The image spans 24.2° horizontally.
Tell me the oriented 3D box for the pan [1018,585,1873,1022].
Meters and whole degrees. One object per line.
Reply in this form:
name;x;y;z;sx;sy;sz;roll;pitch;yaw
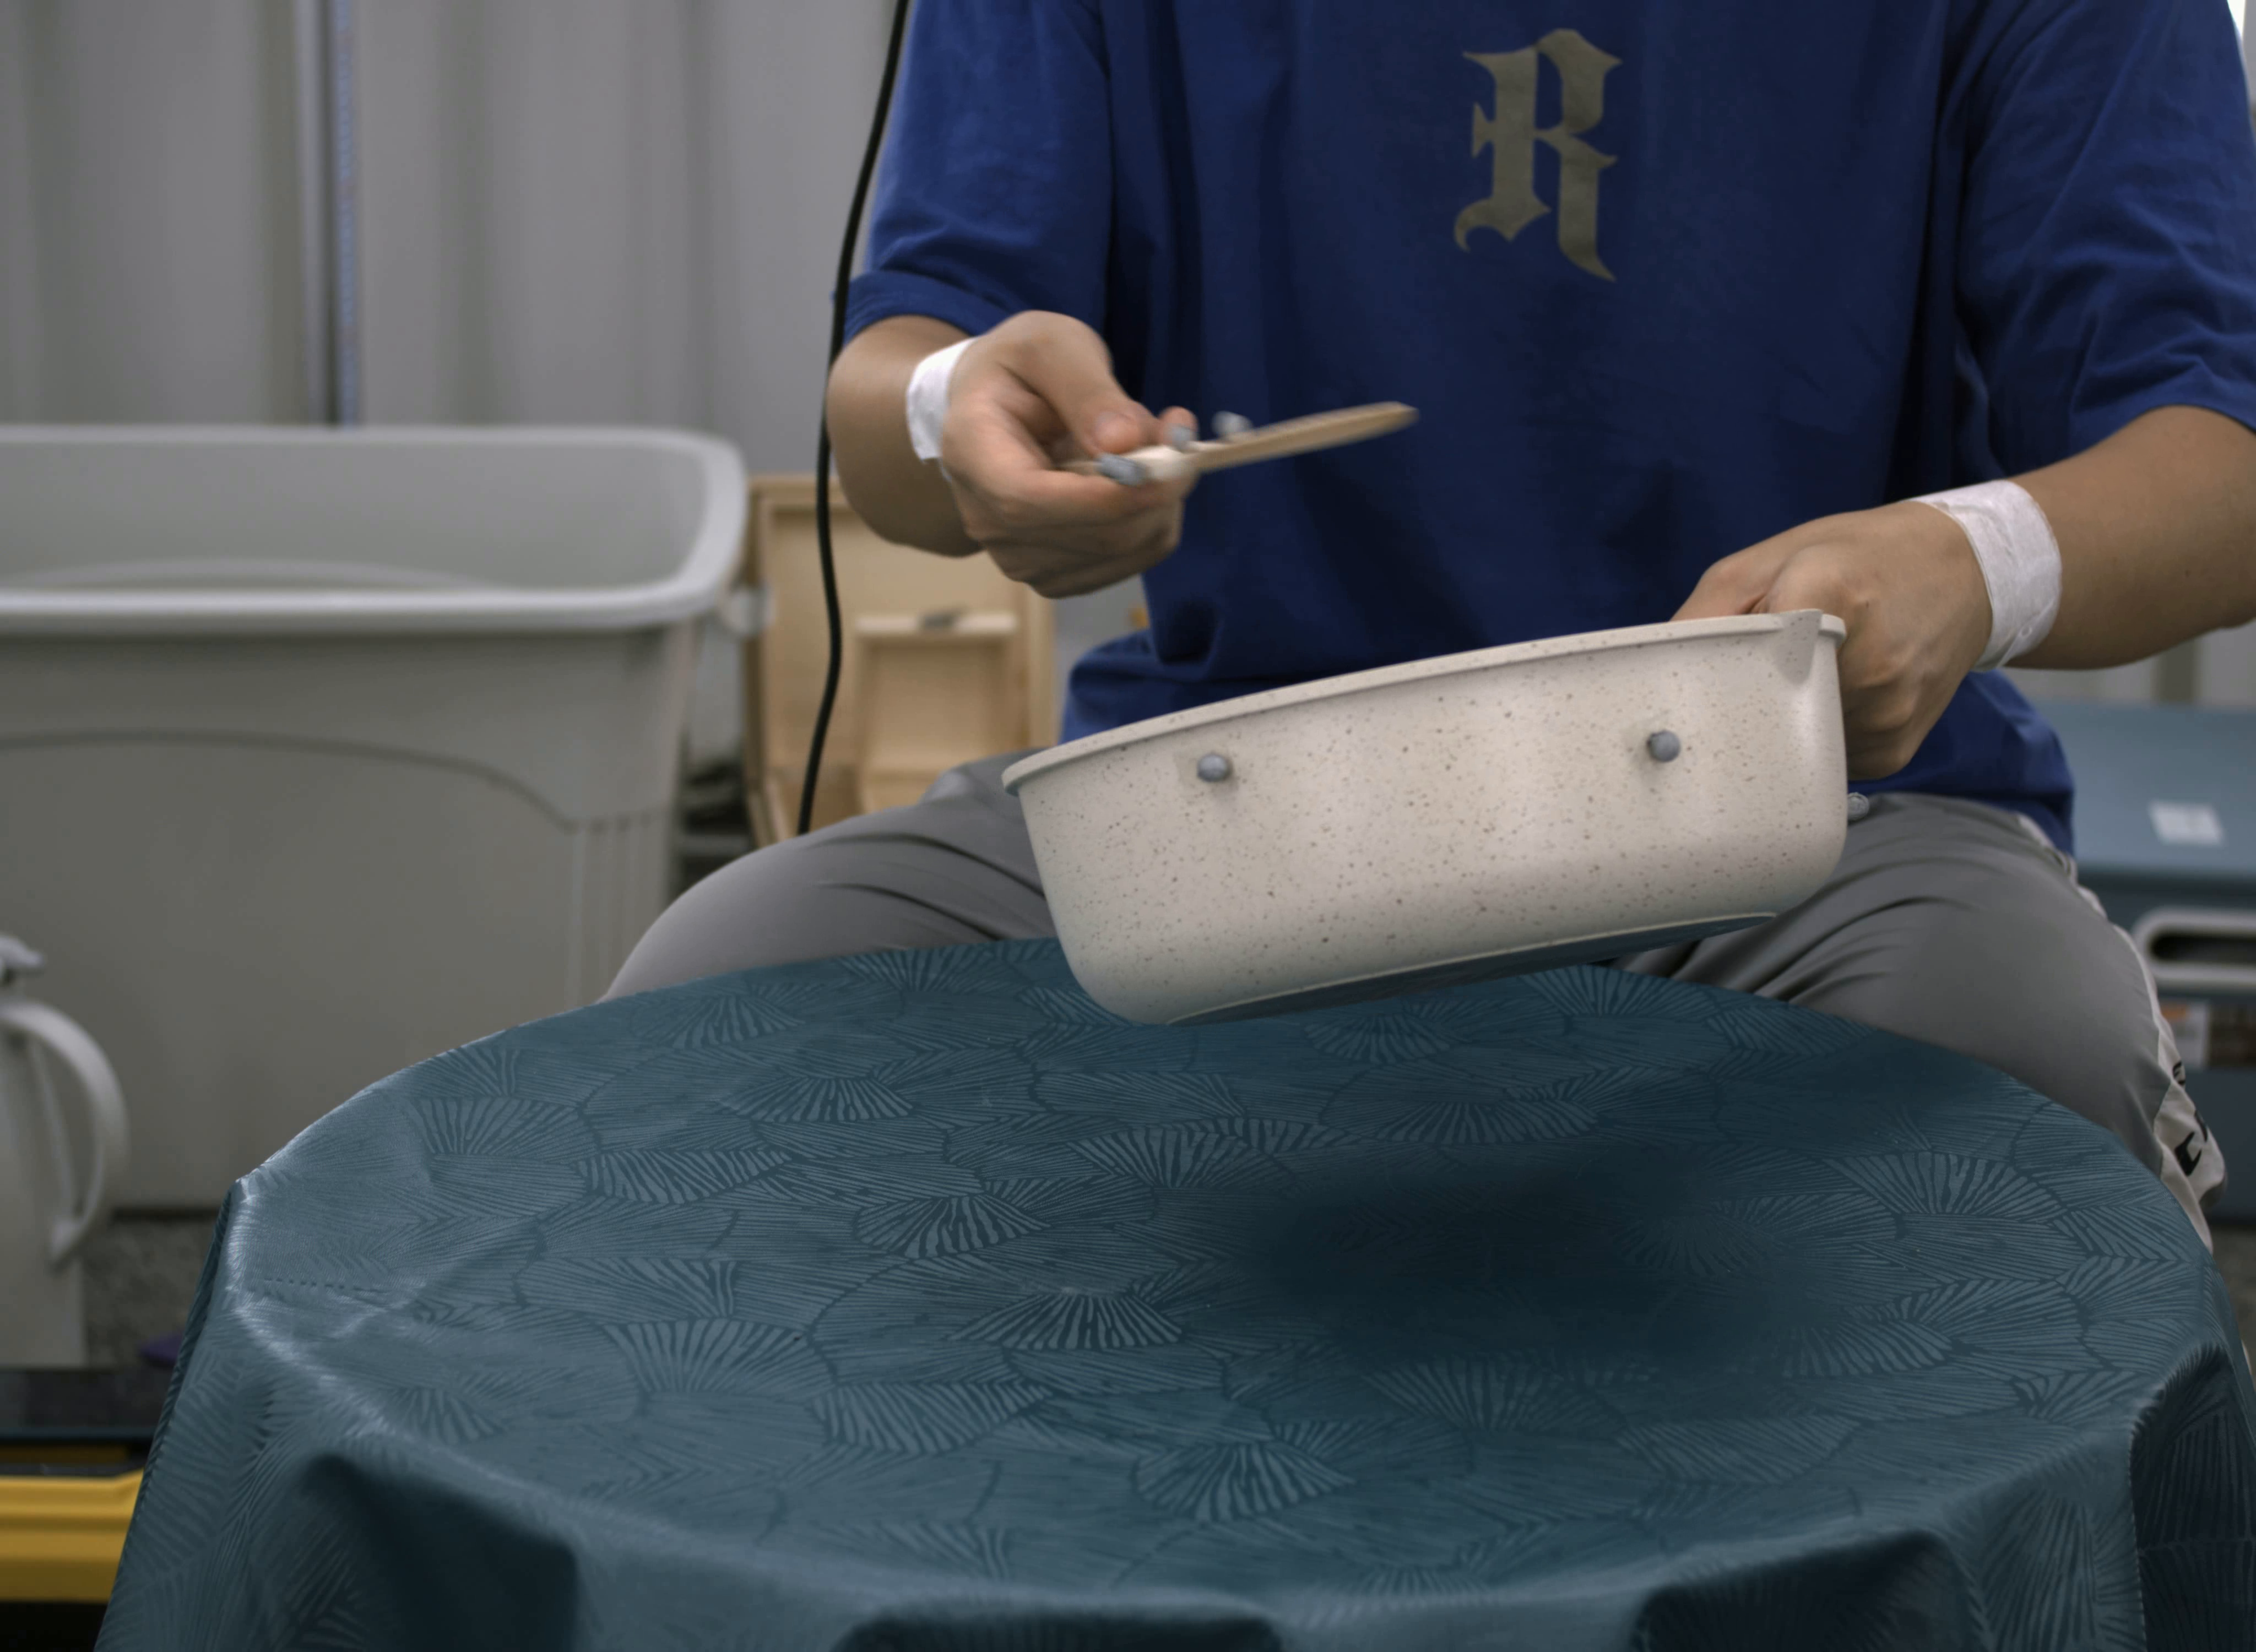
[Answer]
pan;0.144;-0.010;1.618;0.261;0.102;0.438;-14;-6;30

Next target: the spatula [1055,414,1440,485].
spatula;0.022;-0.116;1.670;0.072;0.011;0.291;-12;6;-14
